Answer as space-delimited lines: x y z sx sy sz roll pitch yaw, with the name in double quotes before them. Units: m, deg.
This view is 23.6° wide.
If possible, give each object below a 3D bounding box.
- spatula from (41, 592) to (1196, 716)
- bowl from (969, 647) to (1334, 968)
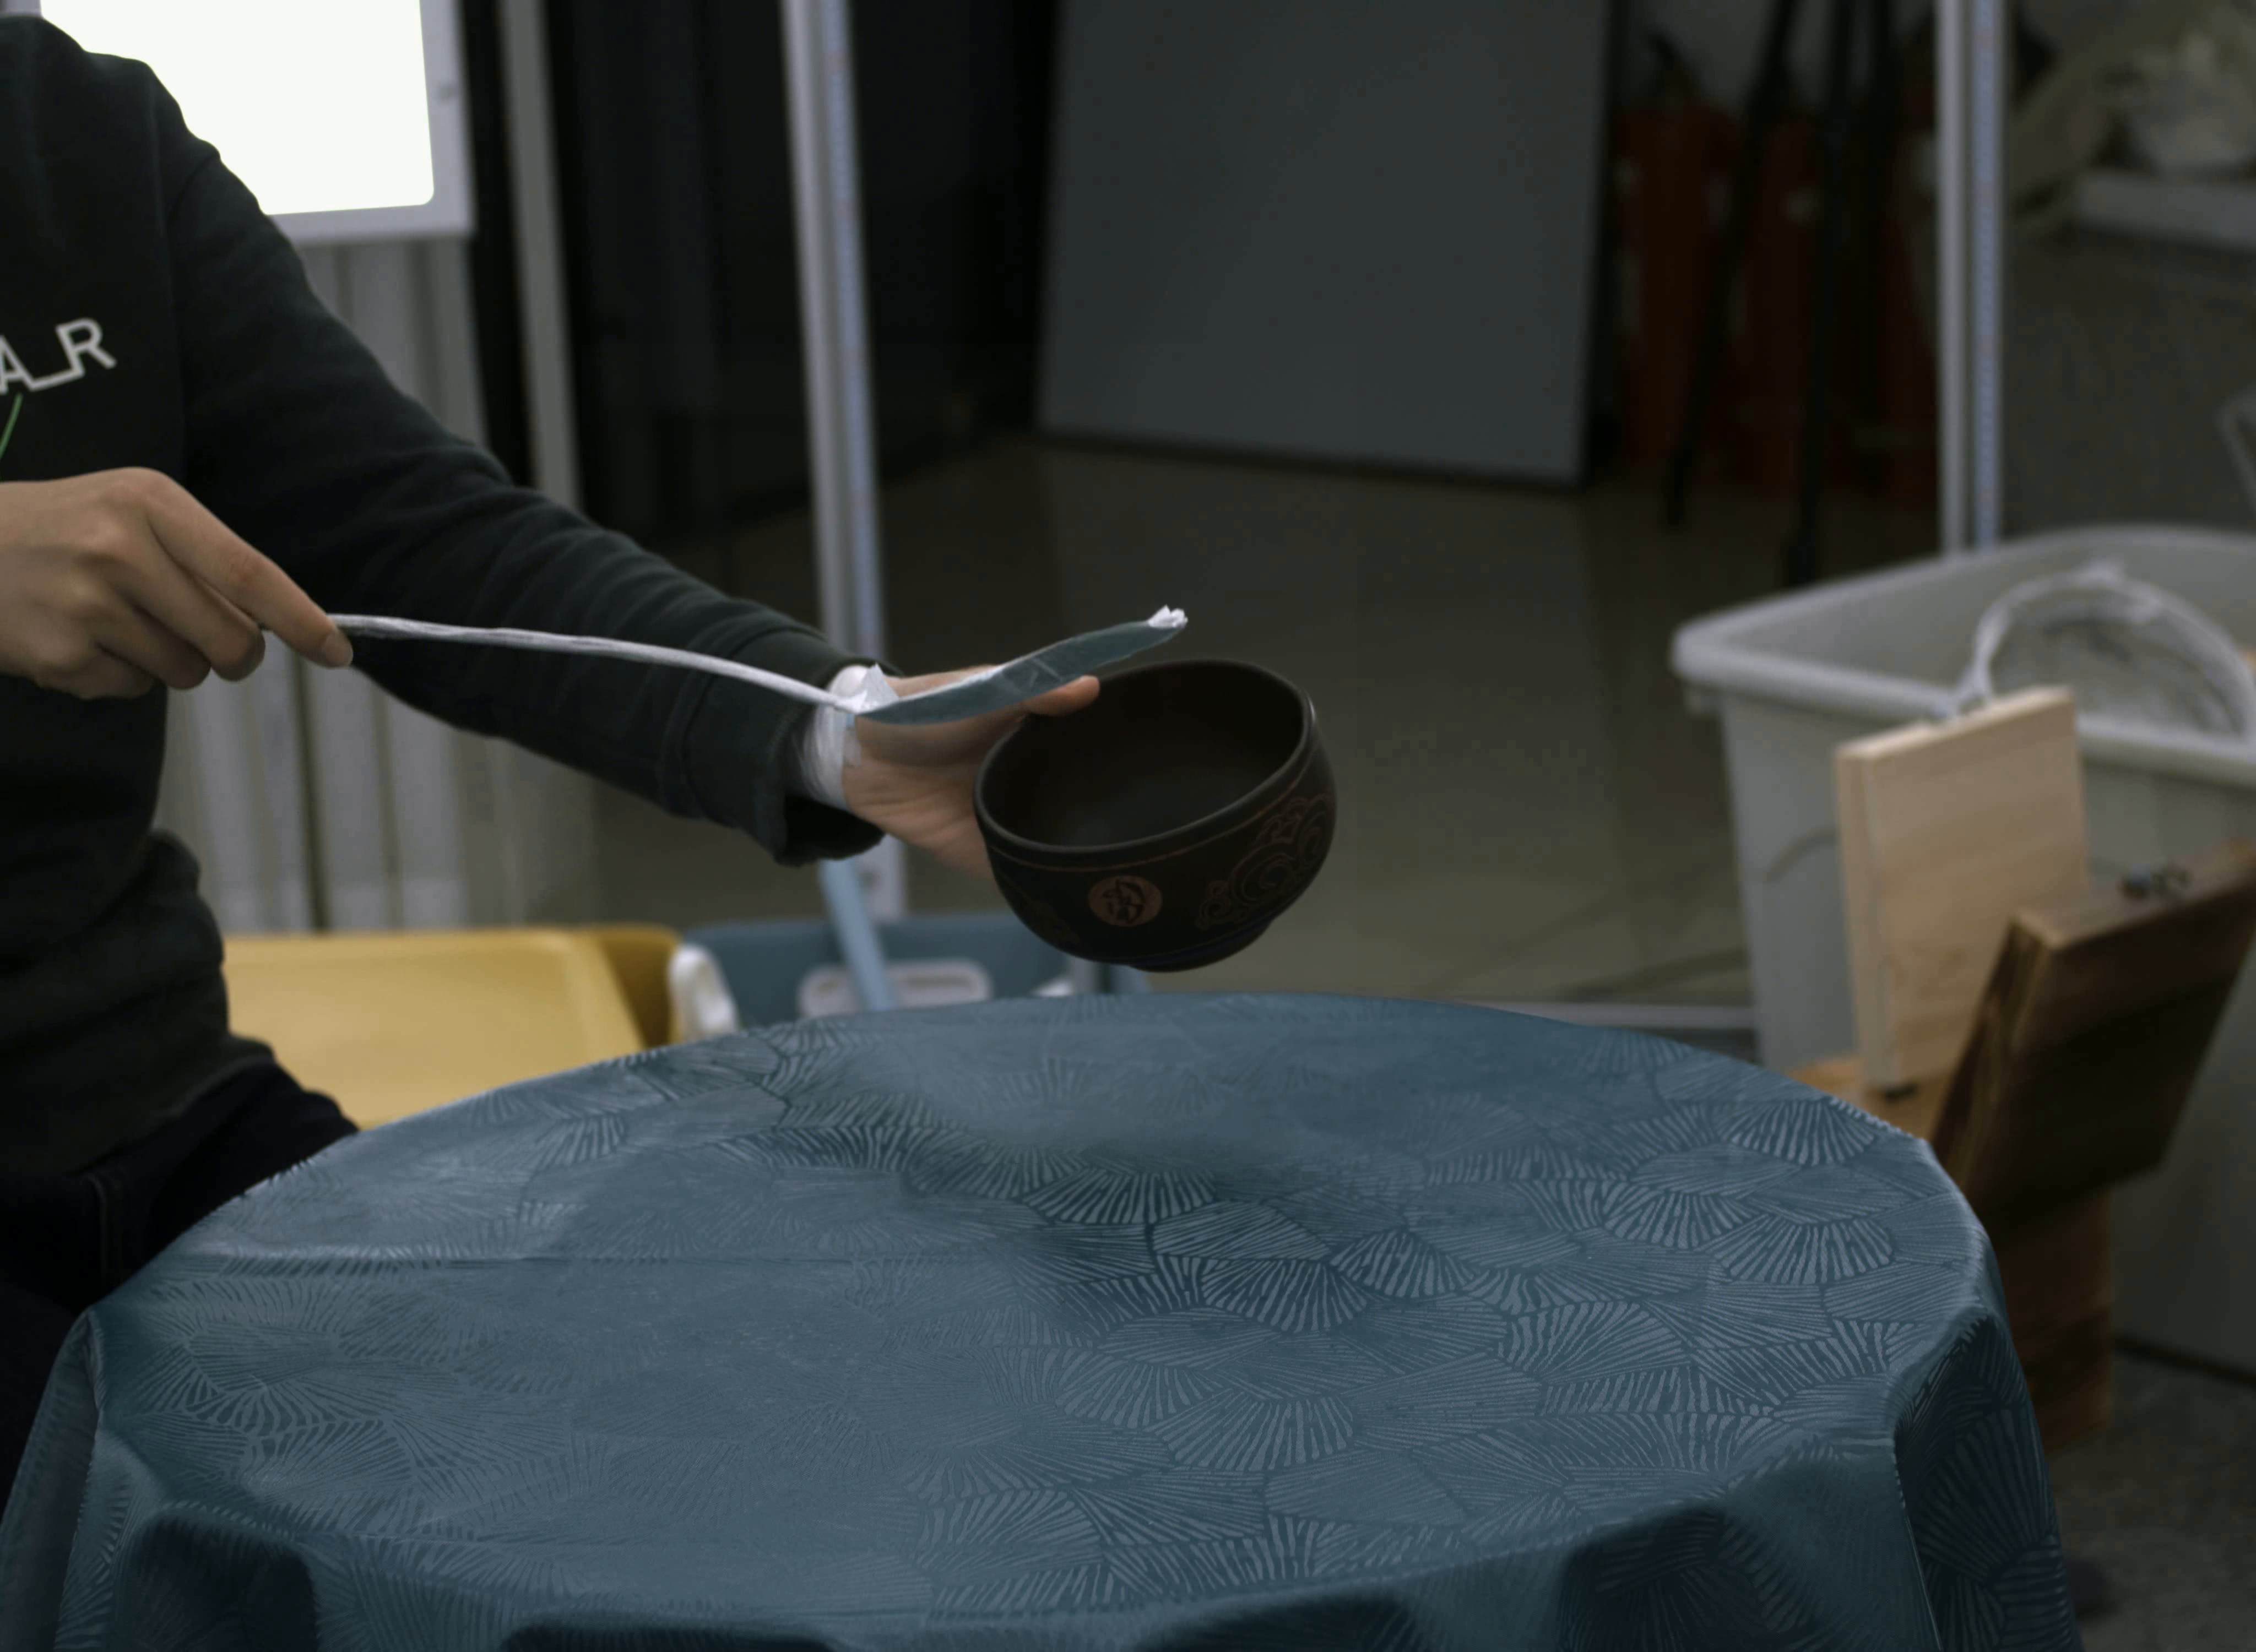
"spatula" -0.160 -0.060 1.619 0.363 0.045 0.098 5 6 13
"bowl" 0.012 0.001 1.749 0.117 0.070 0.118 -14 28 7
